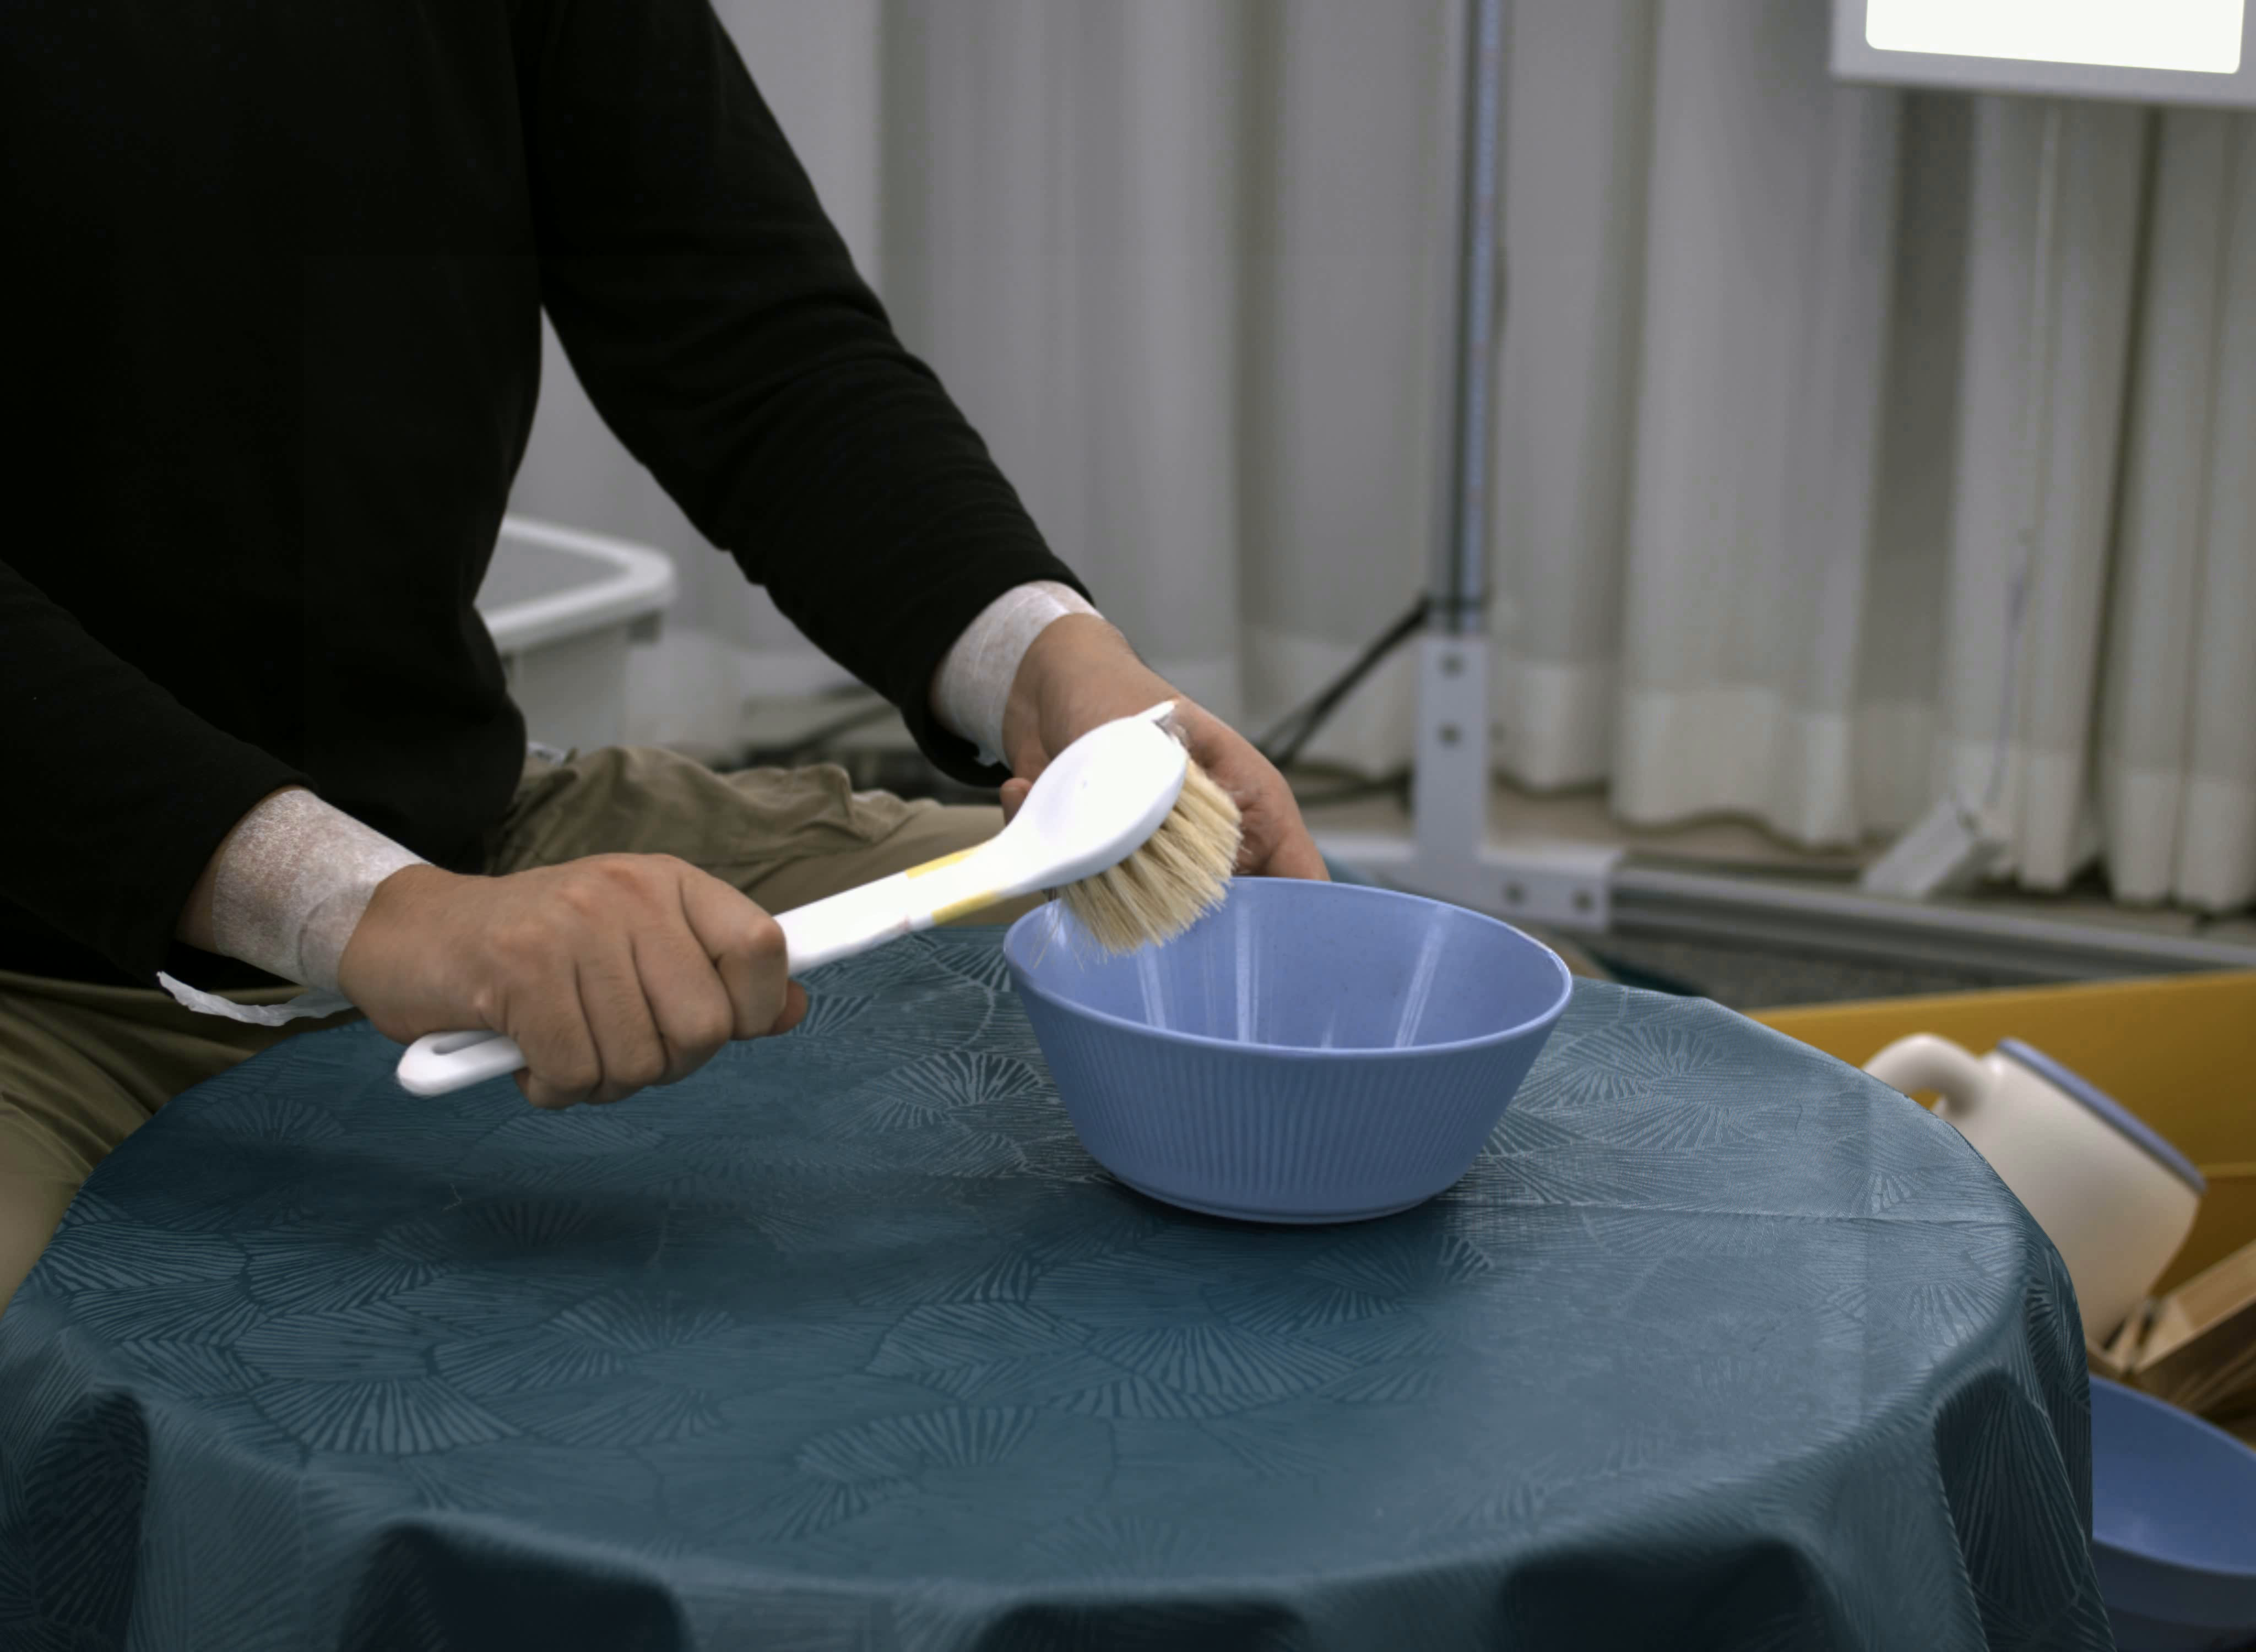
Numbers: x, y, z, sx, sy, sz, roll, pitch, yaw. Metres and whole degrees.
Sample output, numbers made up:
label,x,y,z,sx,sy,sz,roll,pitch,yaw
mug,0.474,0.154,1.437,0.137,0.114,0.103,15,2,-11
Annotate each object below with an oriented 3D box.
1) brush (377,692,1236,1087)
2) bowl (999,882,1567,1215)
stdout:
label,x,y,z,sx,sy,sz,roll,pitch,yaw
brush,-0.092,0.037,1.572,0.266,0.057,0.068,-24,27,-8
bowl,0.045,0.071,1.625,0.175,0.071,0.175,4,15,-1
